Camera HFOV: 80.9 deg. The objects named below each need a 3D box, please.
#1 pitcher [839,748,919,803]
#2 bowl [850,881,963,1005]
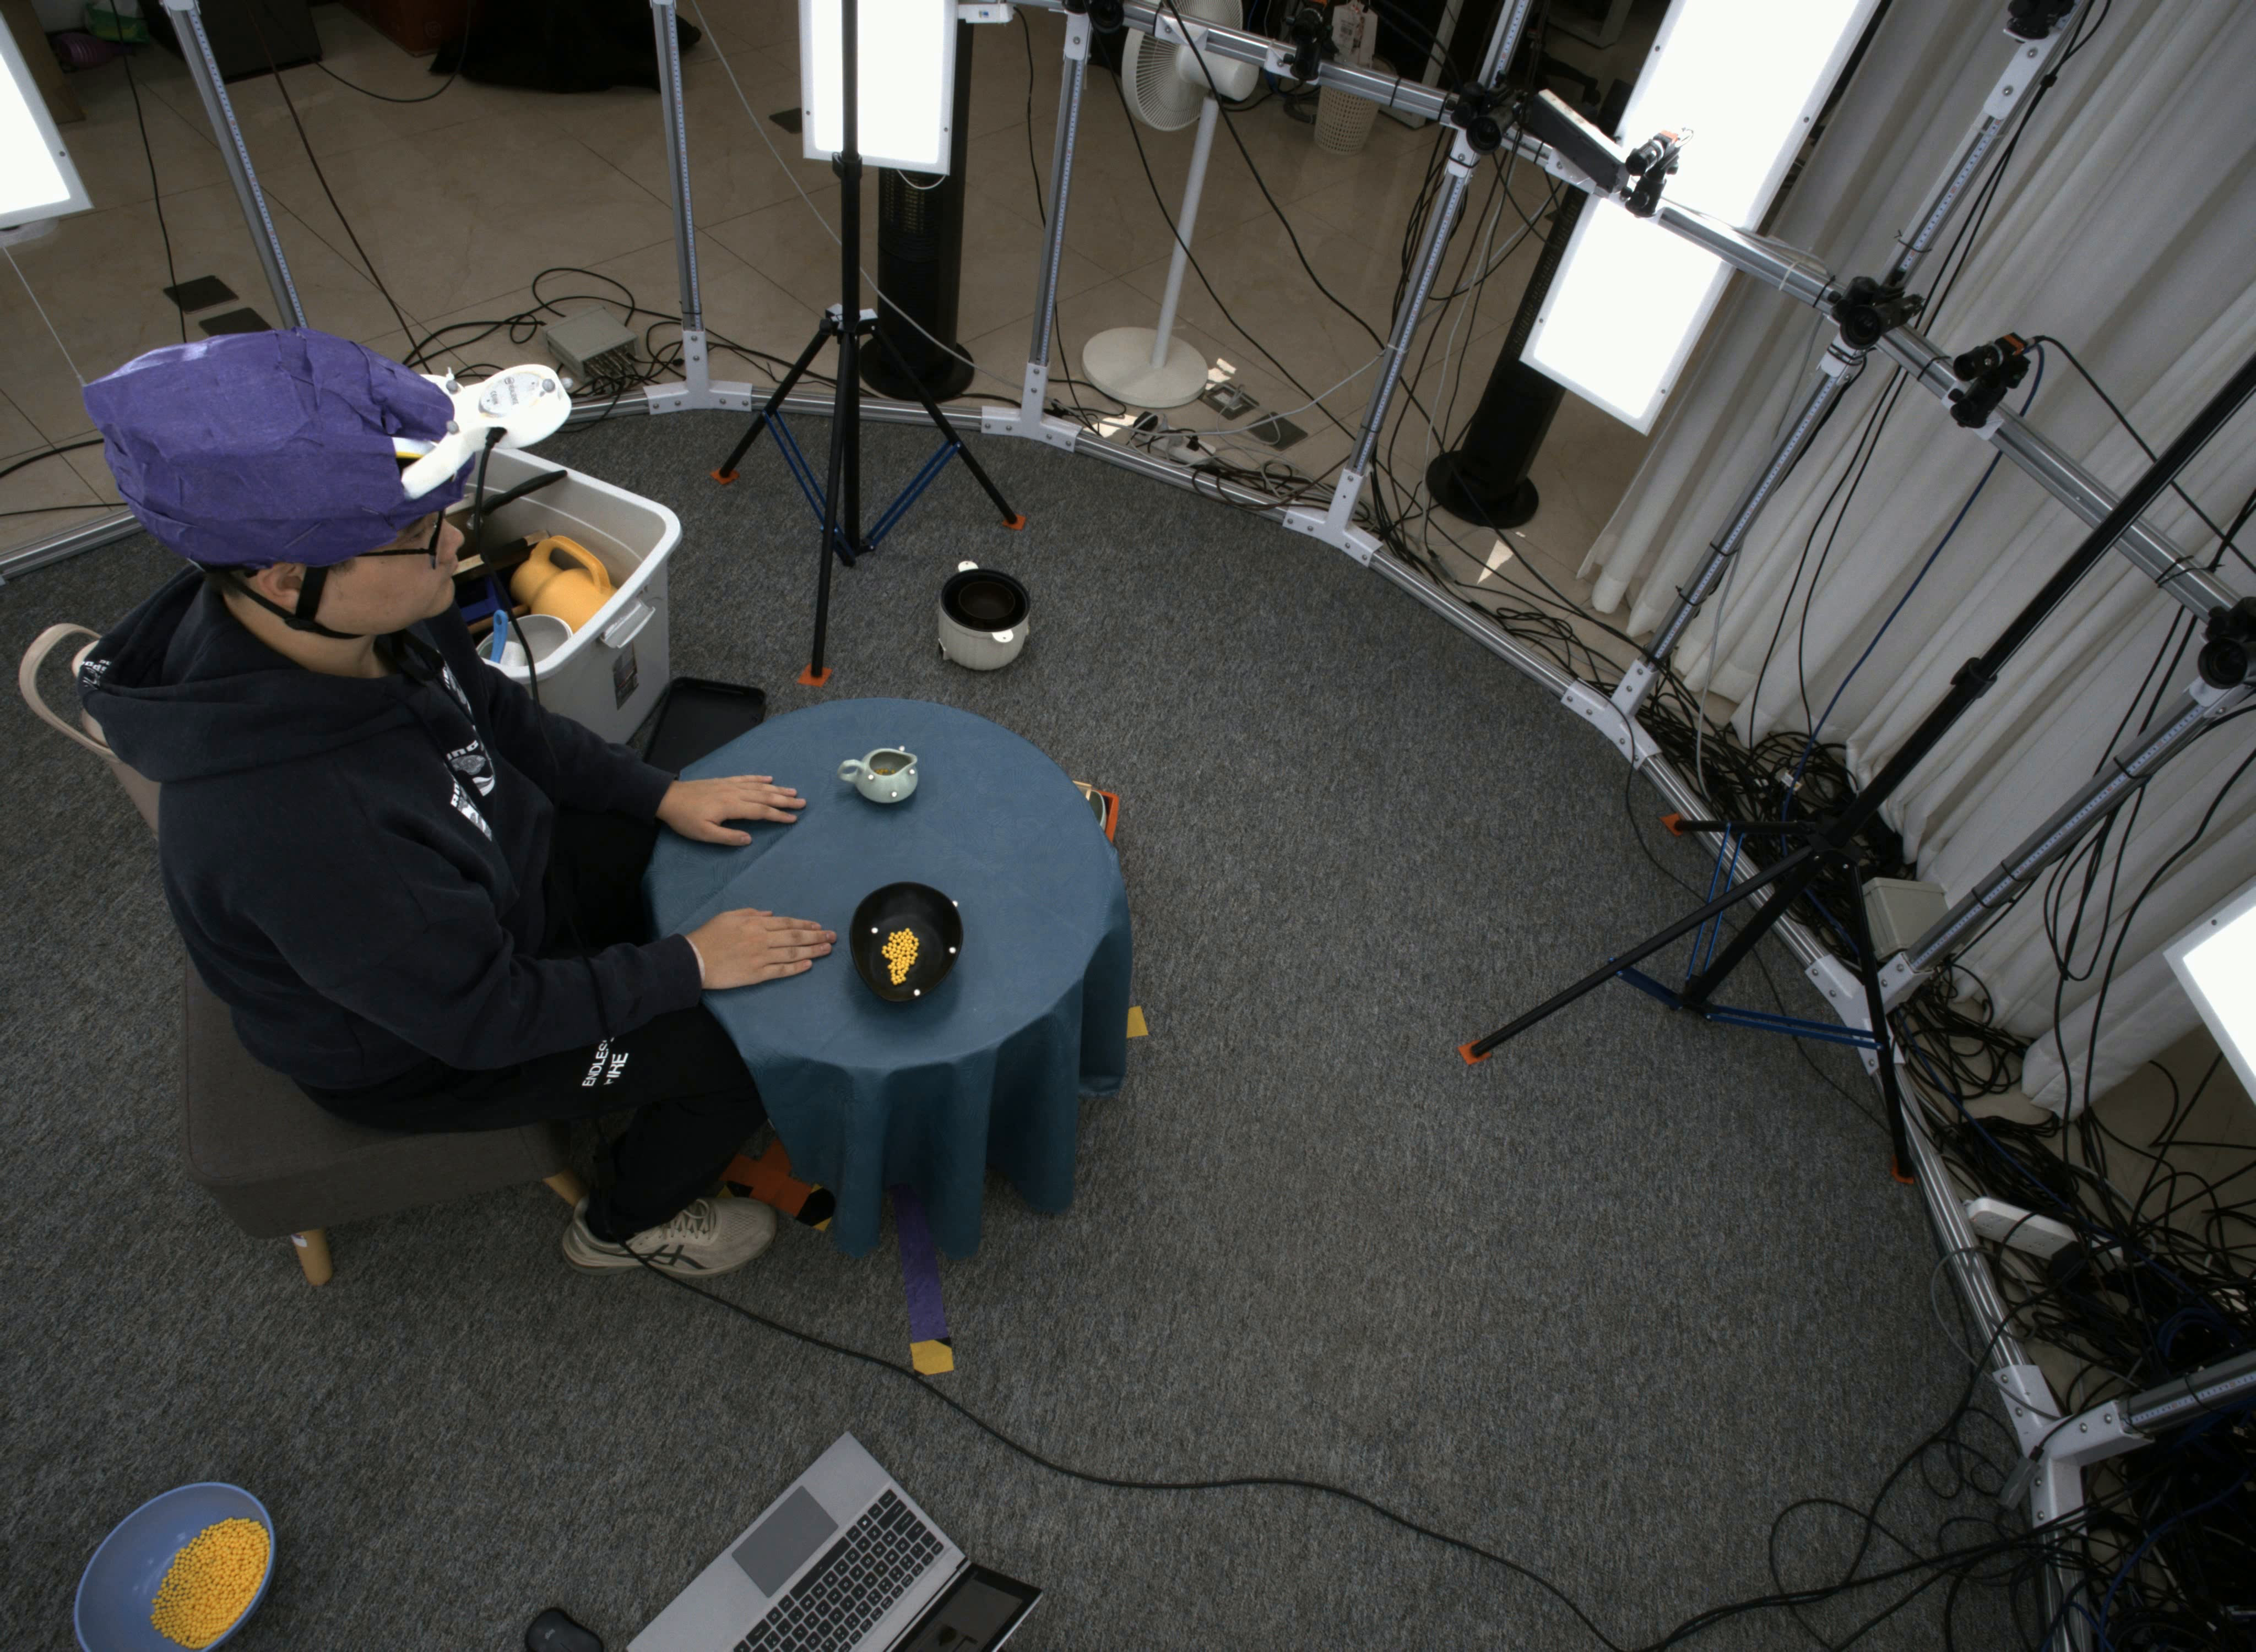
[{"bbox_3d":[-0.337,-0.071,1.759,0.108,0.062,0.084,-8,54,-16],"label":"pitcher"},{"bbox_3d":[-0.273,0.151,1.605,0.137,0.068,0.167,5,53,-9],"label":"bowl"}]
